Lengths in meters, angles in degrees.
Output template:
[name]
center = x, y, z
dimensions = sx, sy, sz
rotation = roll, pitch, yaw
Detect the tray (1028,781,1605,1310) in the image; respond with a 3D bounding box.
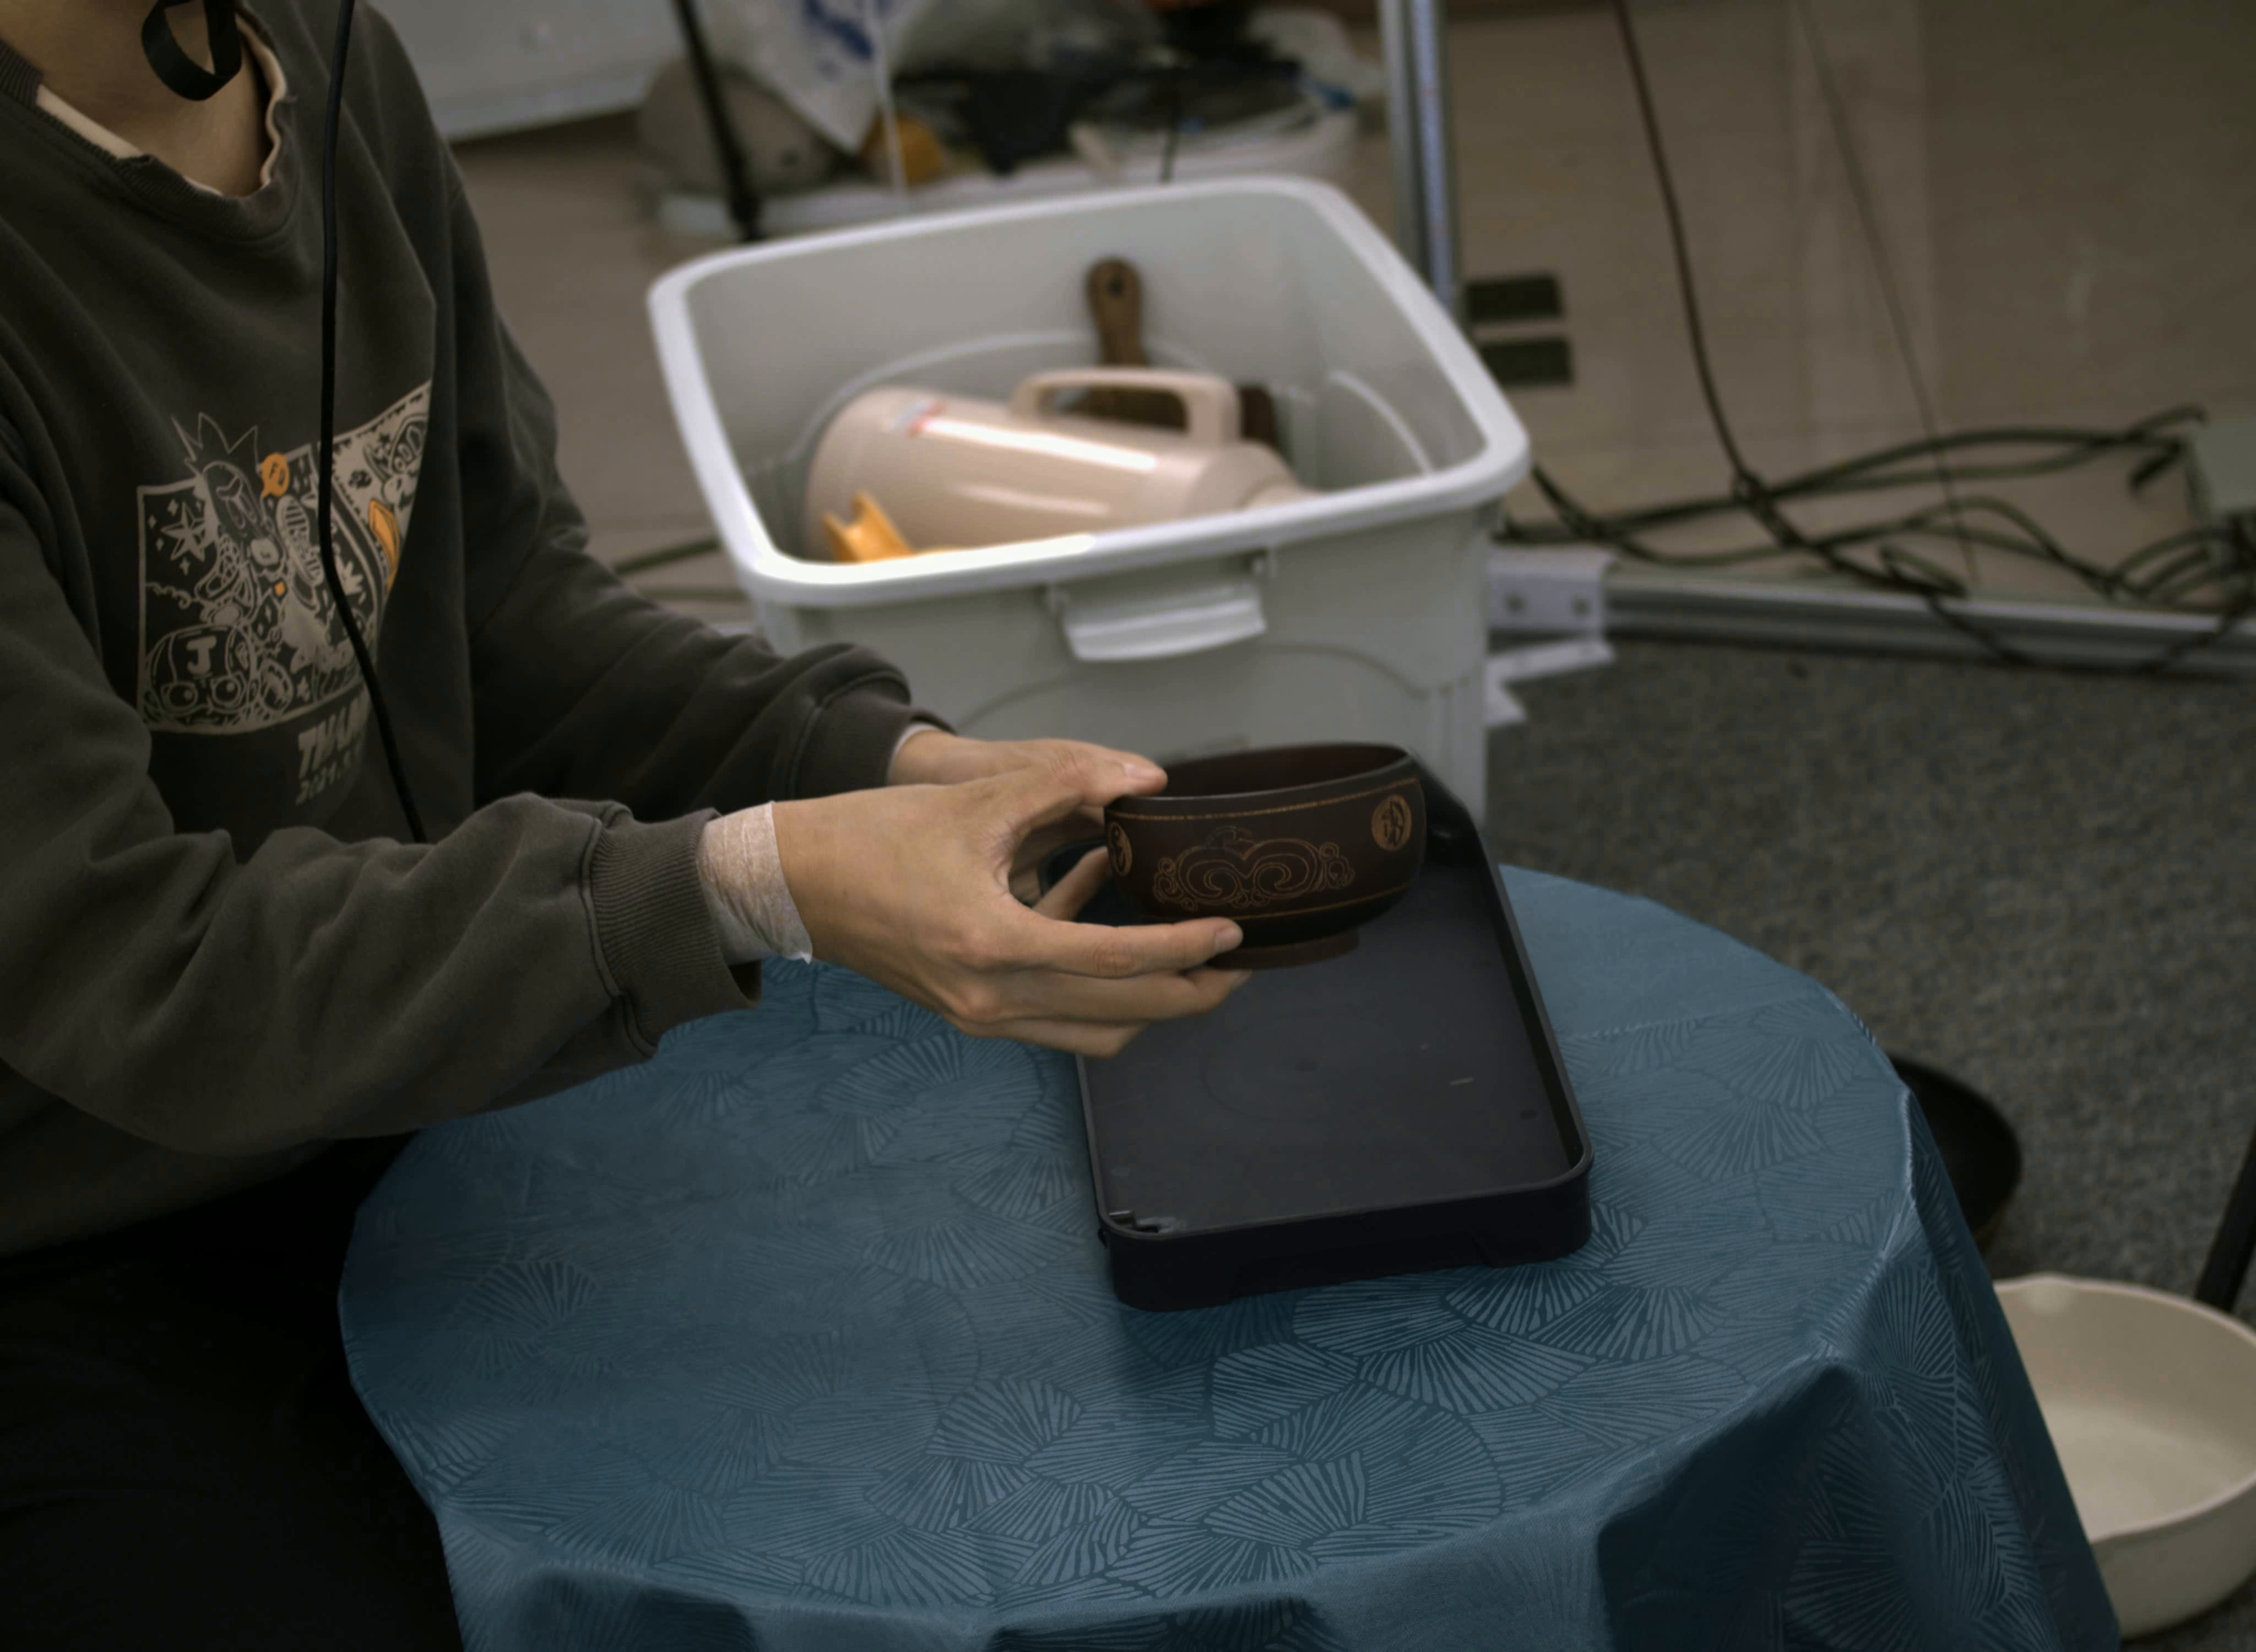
[tray]
center = 0.068, 0.080, 2.196
dimensions = 0.184, 0.037, 0.313
rotation = -9, 29, -3

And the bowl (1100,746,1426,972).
[bowl]
center = 0.051, 0.014, 2.052
dimensions = 0.118, 0.070, 0.117
rotation = -8, 7, 1
